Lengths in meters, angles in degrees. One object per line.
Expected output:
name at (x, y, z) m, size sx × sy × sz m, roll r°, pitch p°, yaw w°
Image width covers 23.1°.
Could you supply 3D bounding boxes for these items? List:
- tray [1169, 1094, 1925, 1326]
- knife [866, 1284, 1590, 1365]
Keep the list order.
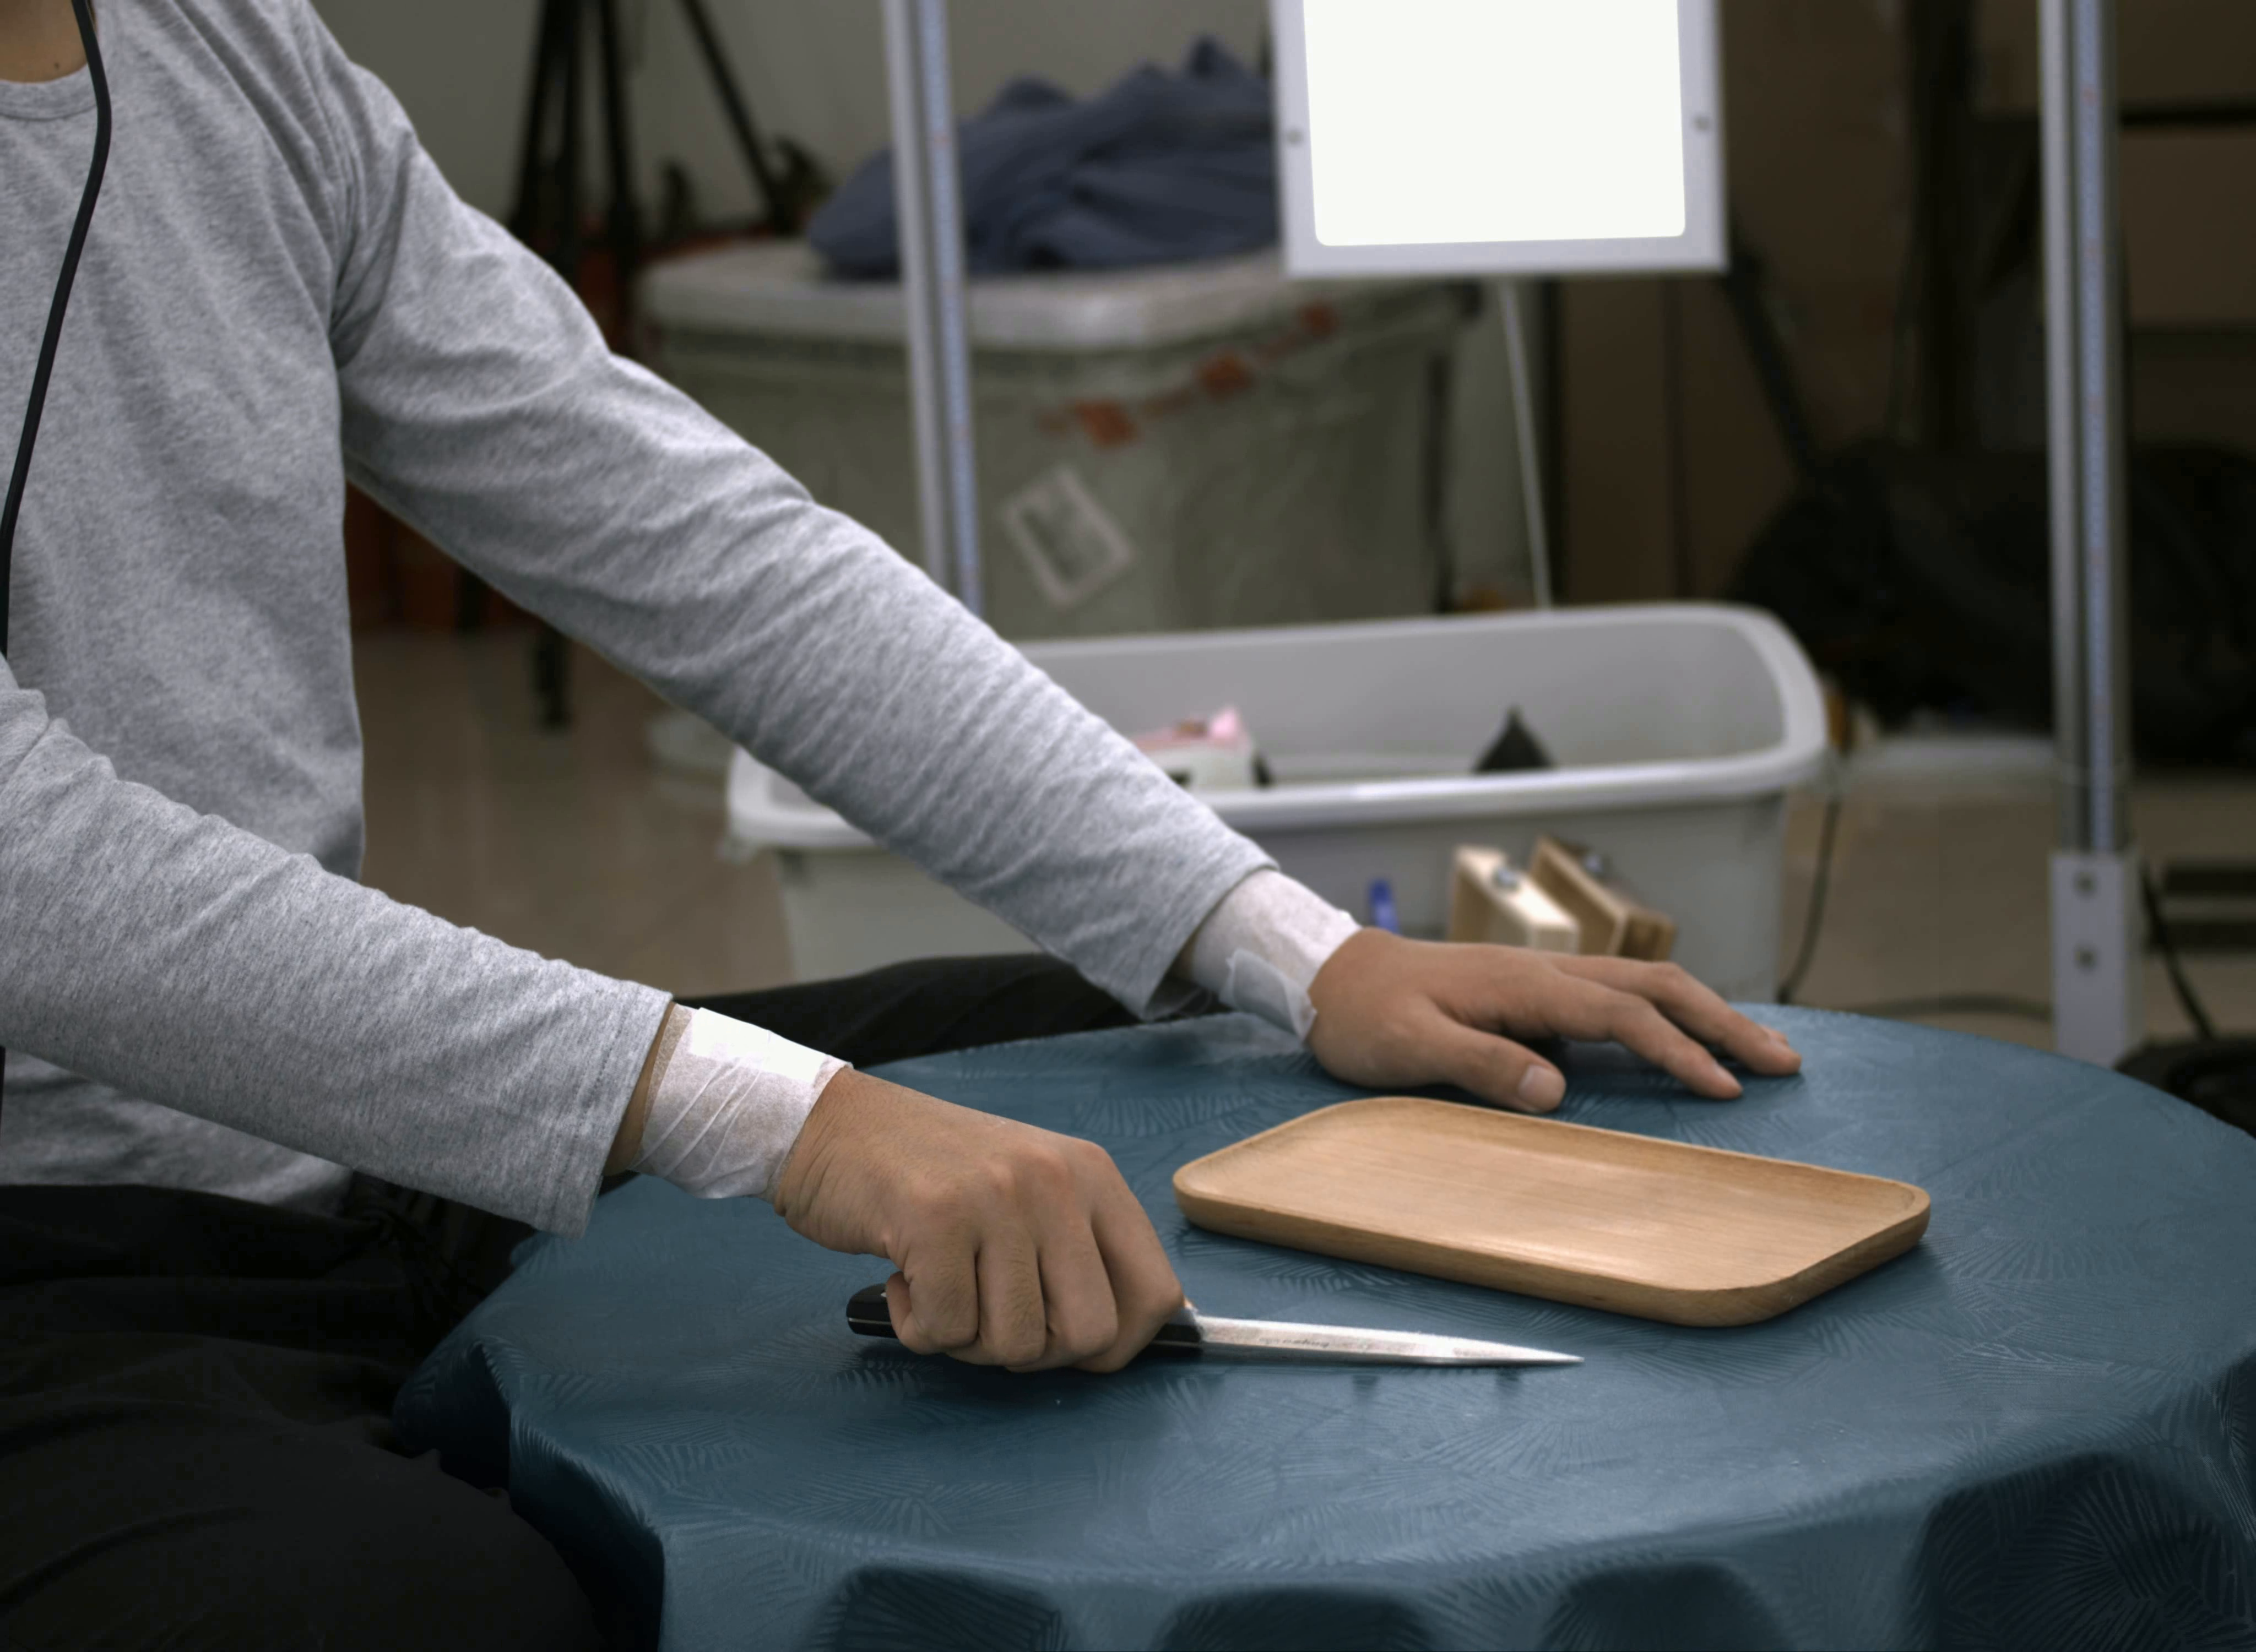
tray at (0.137, 0.125, 1.822) m, size 0.256 × 0.023 × 0.127 m, roll 7°, pitch 15°, yaw 44°
knife at (0.028, 0.160, 1.730) m, size 0.241 × 0.016 × 0.024 m, roll 3°, pitch 16°, yaw 18°
